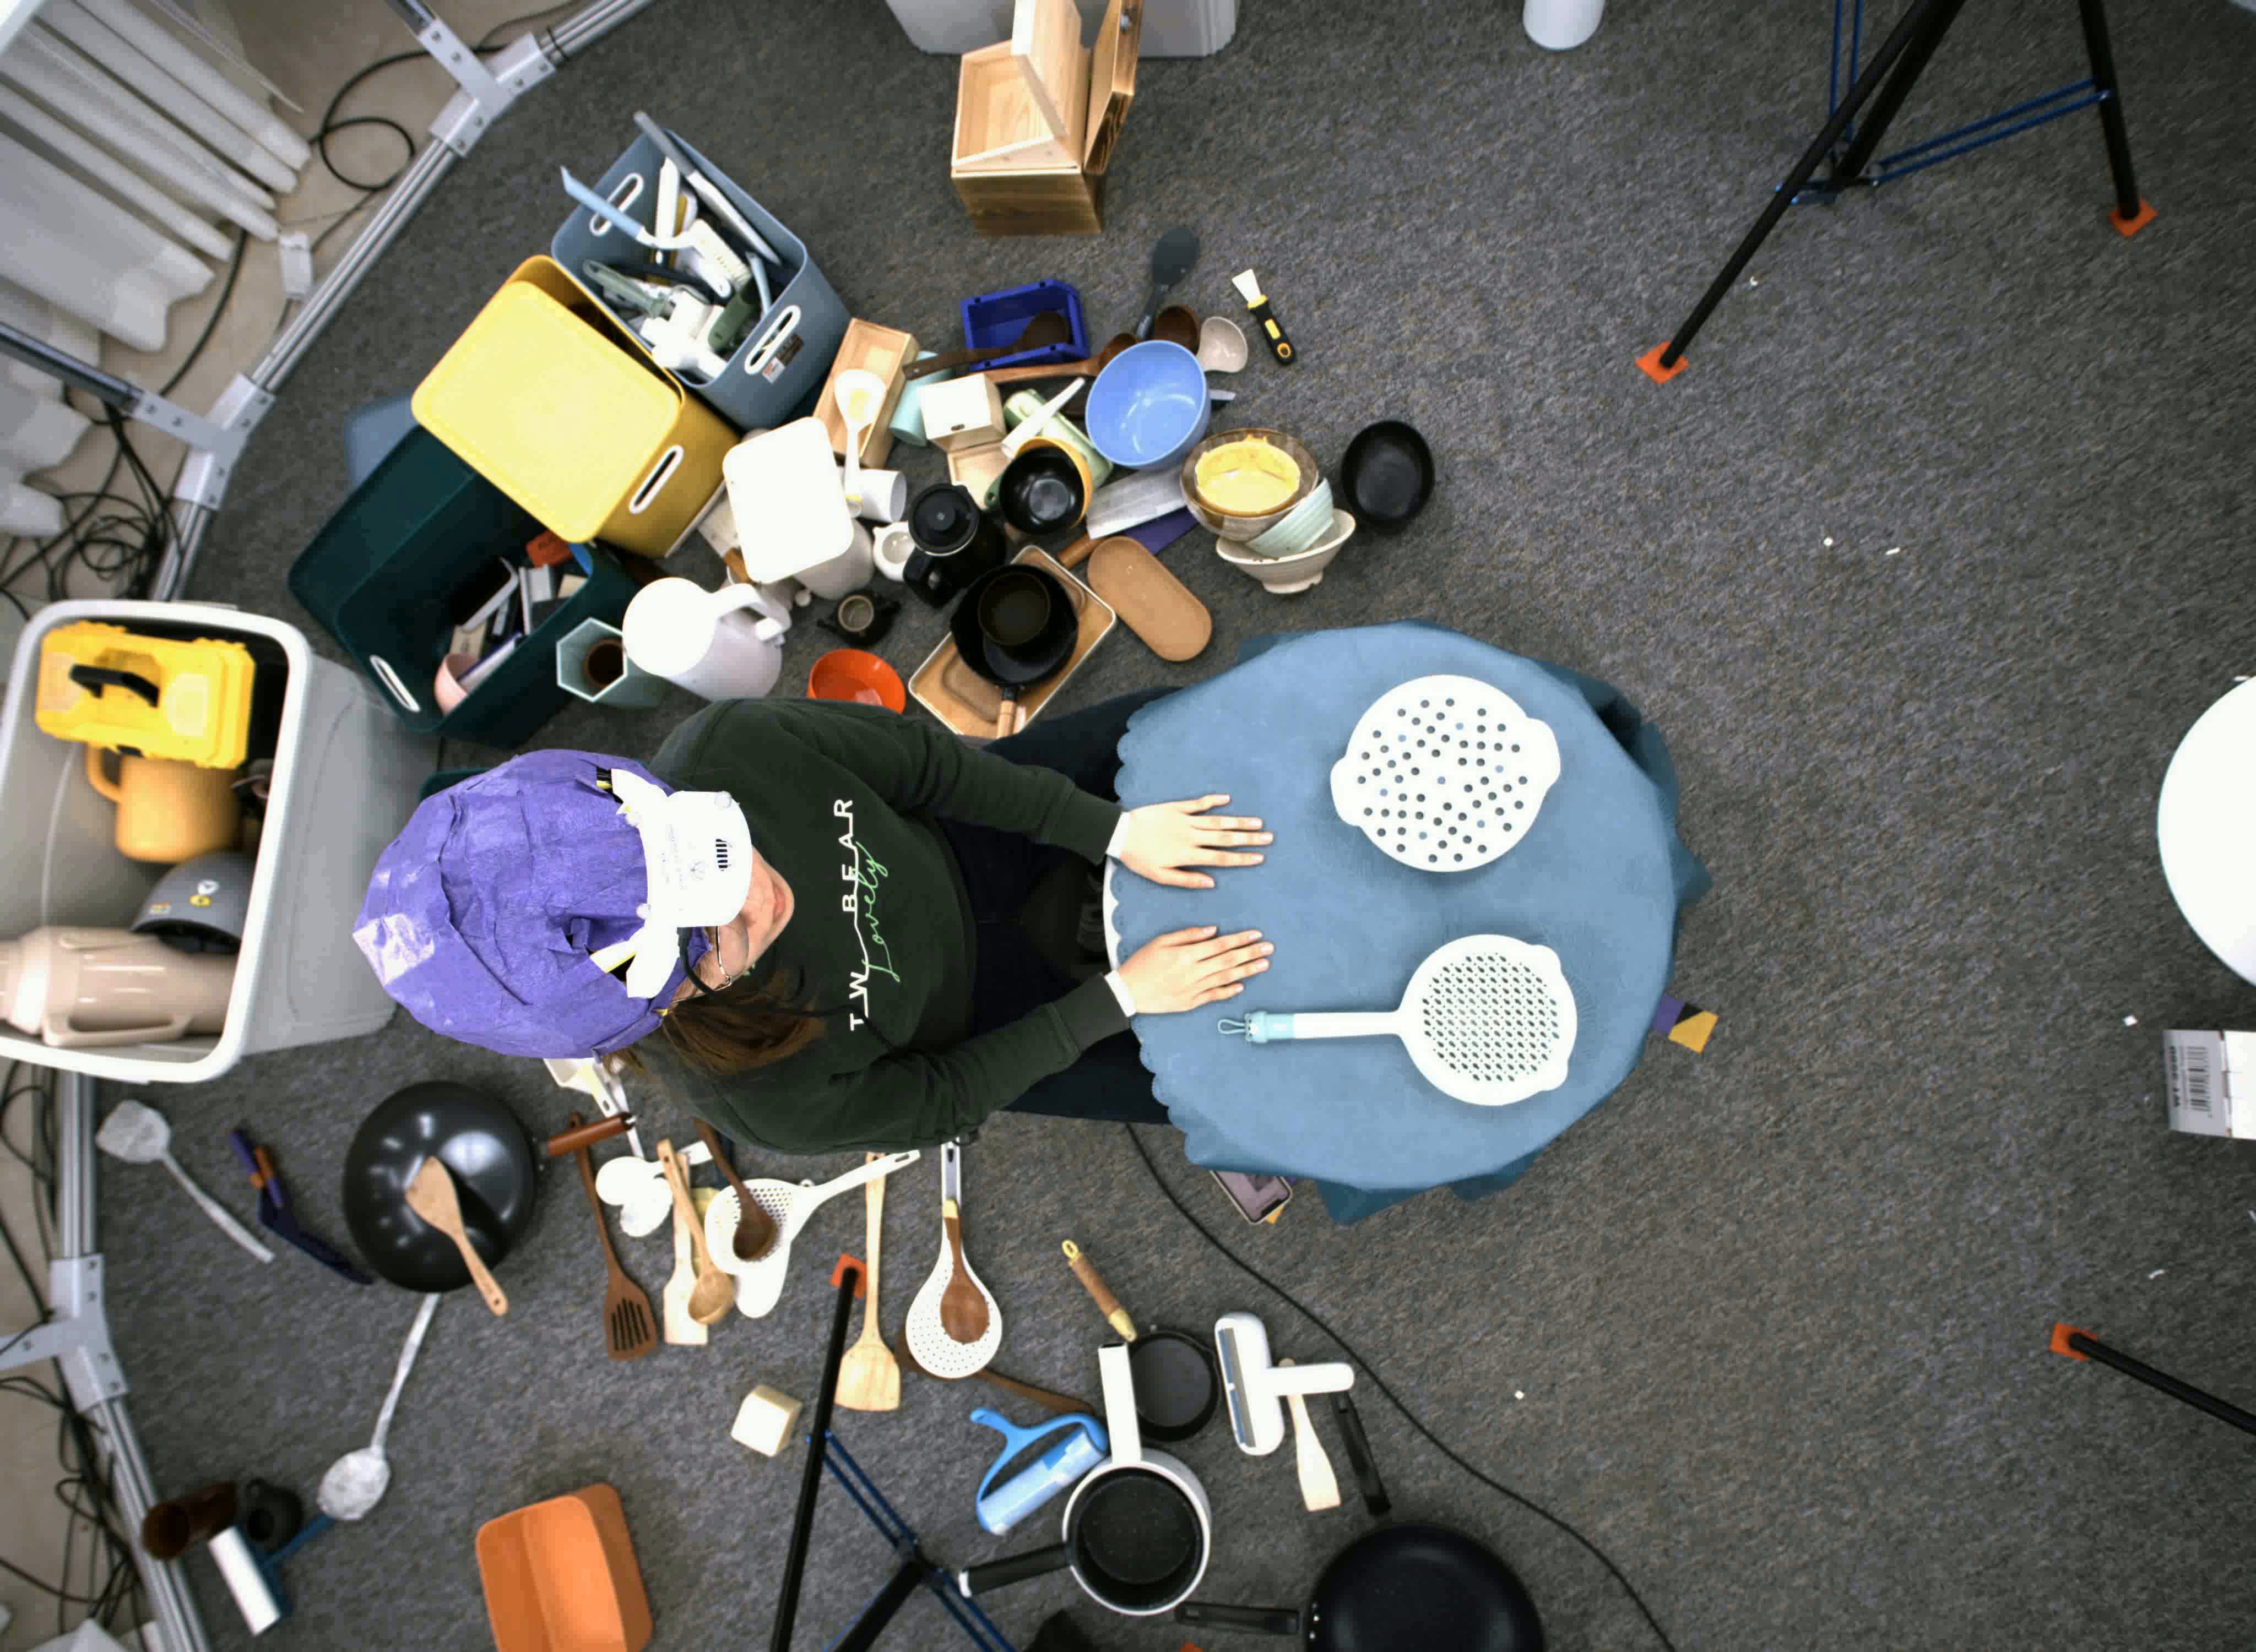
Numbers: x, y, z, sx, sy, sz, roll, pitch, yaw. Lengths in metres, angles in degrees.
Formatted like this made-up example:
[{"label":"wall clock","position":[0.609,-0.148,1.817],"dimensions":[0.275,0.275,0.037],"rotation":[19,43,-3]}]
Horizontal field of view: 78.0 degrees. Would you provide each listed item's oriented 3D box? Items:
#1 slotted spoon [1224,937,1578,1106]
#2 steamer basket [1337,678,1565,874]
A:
[{"label":"slotted spoon","position":[0.274,0.202,1.423],"dimensions":[0.360,0.075,0.168],"rotation":[-3,85,10]},{"label":"steamer basket","position":[0.334,-0.051,1.429],"dimensions":[0.232,0.069,0.200],"rotation":[-13,83,9]}]
